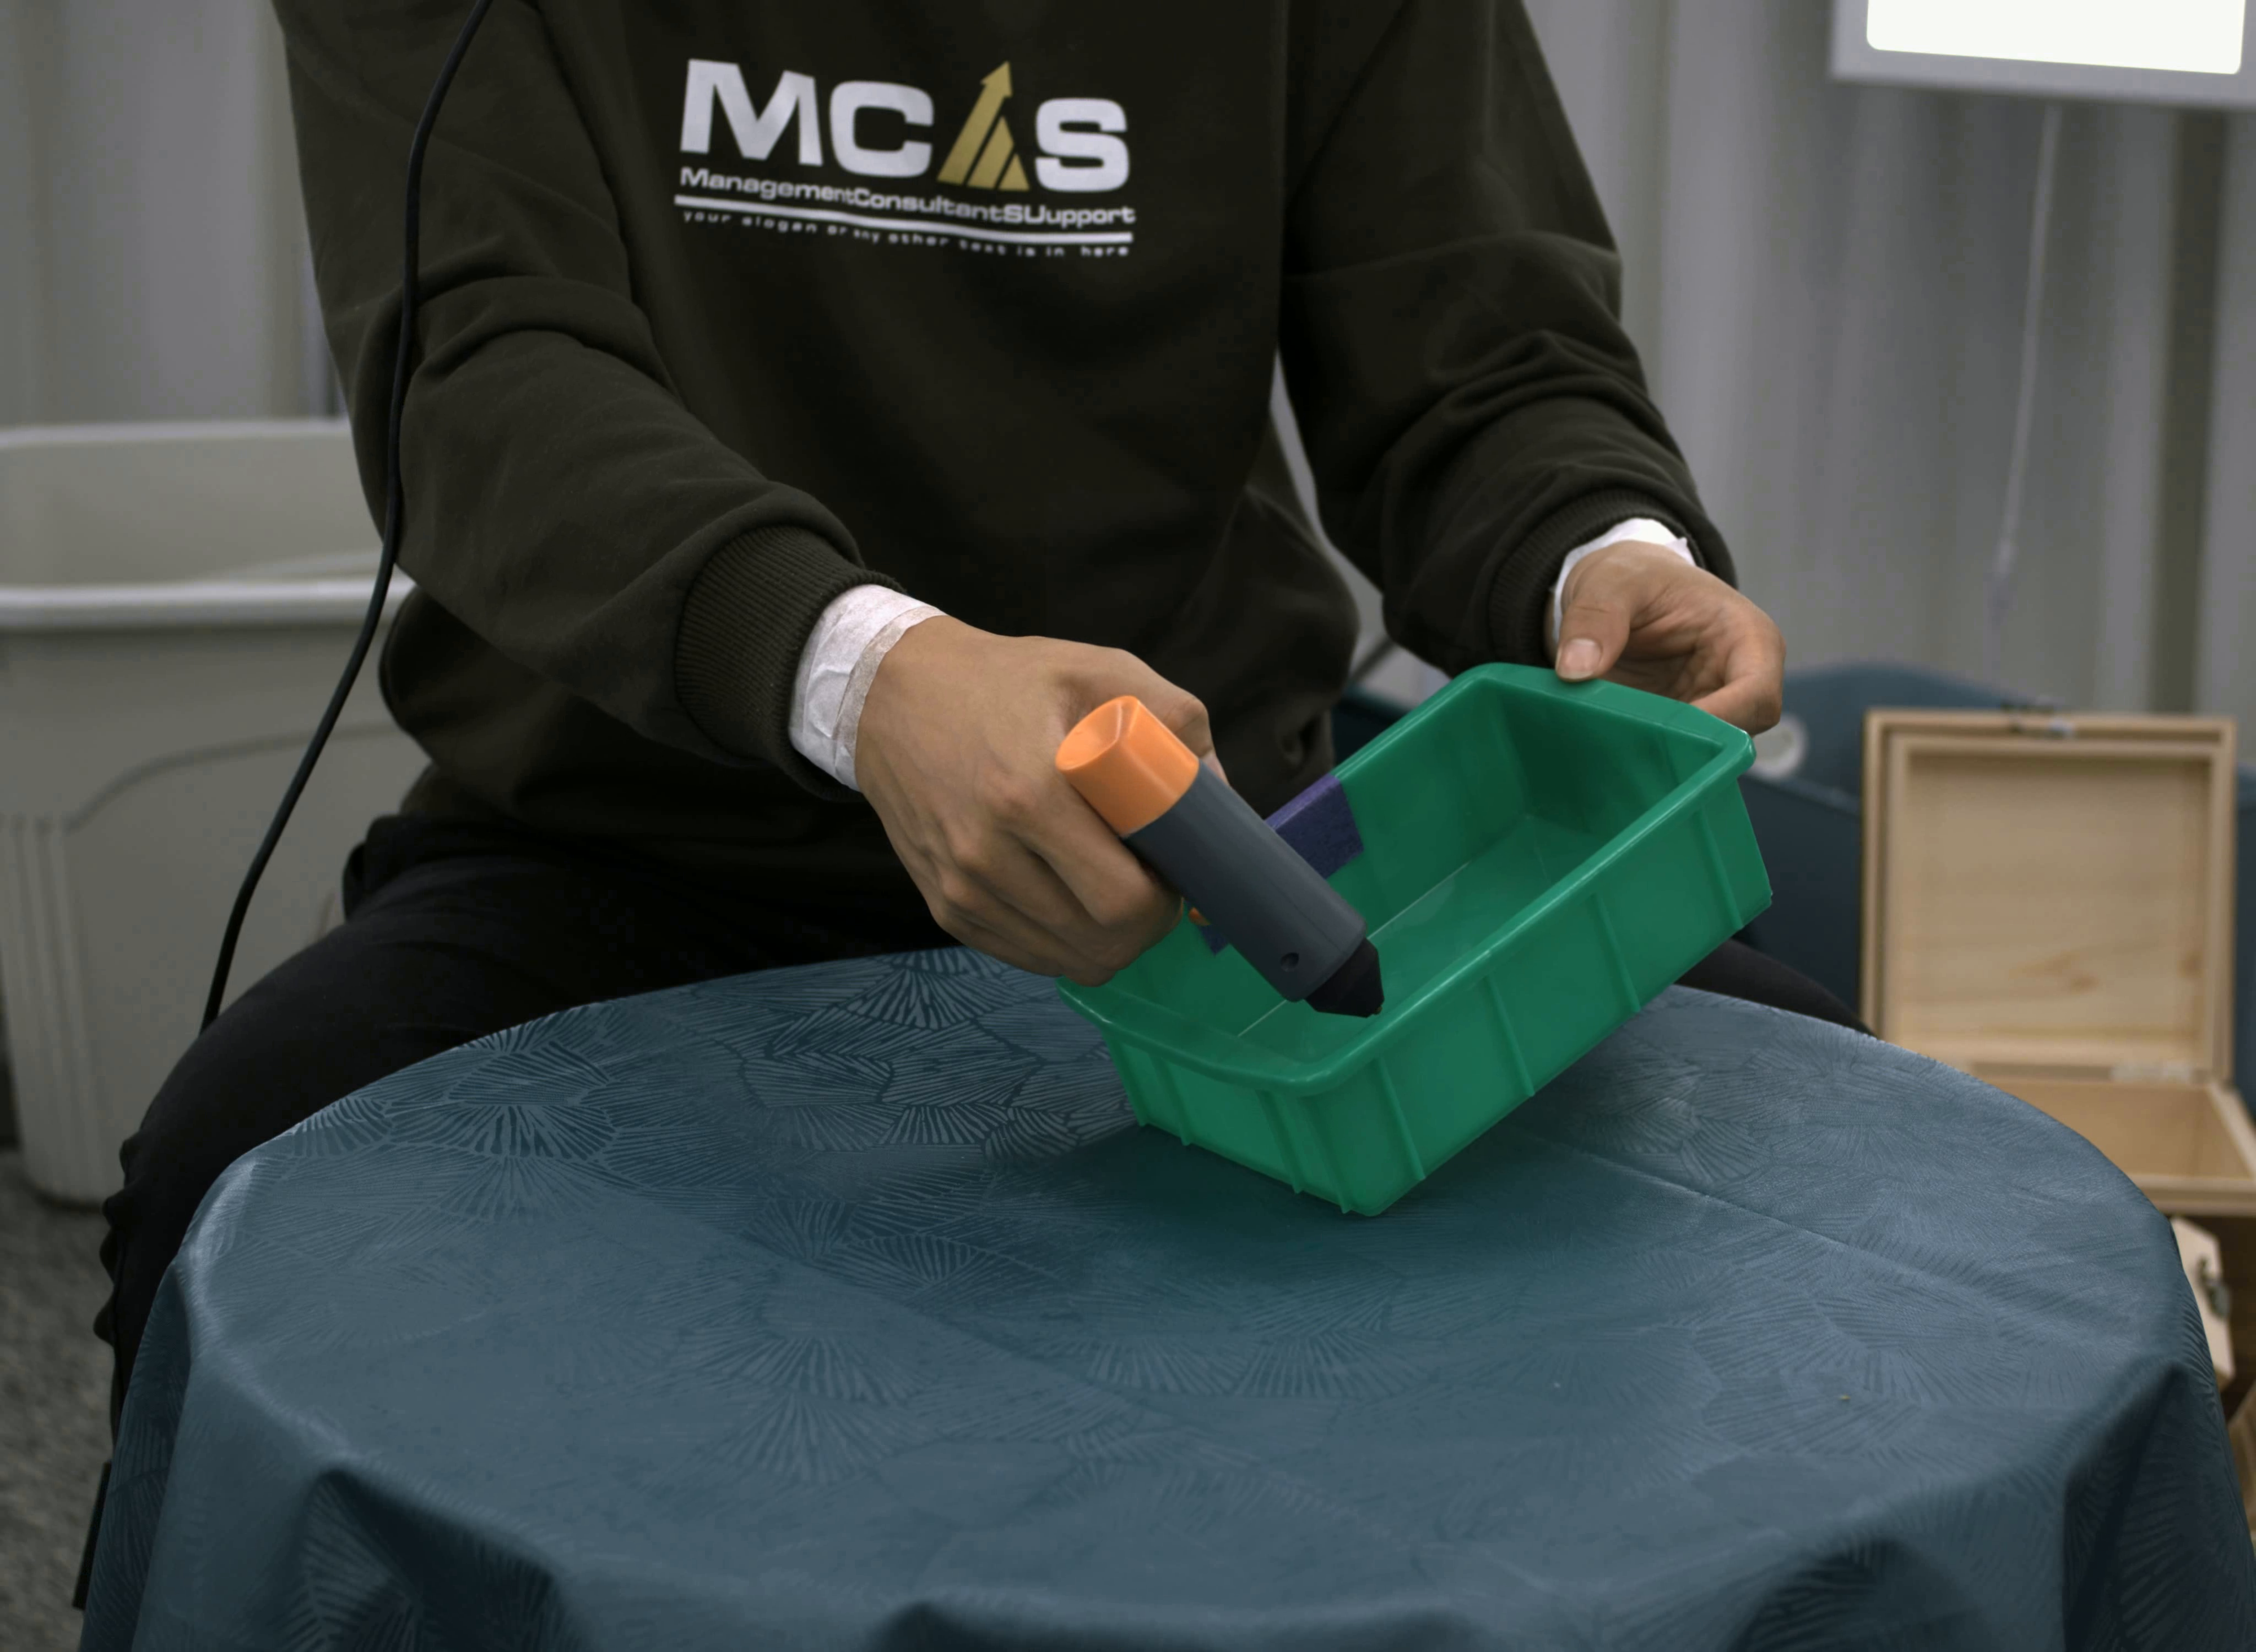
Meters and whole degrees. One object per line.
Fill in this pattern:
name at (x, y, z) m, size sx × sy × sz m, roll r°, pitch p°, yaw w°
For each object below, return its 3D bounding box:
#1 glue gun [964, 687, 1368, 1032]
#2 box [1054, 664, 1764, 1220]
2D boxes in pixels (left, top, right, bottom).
glue gun at (0.012, 0.010, 1.621) m, size 0.041 × 0.119 × 0.138 m, roll -42°, pitch 24°, yaw -18°
box at (0.095, 0.037, 1.670) m, size 0.210 × 0.066 × 0.137 m, roll -38°, pitch 32°, yaw -26°
